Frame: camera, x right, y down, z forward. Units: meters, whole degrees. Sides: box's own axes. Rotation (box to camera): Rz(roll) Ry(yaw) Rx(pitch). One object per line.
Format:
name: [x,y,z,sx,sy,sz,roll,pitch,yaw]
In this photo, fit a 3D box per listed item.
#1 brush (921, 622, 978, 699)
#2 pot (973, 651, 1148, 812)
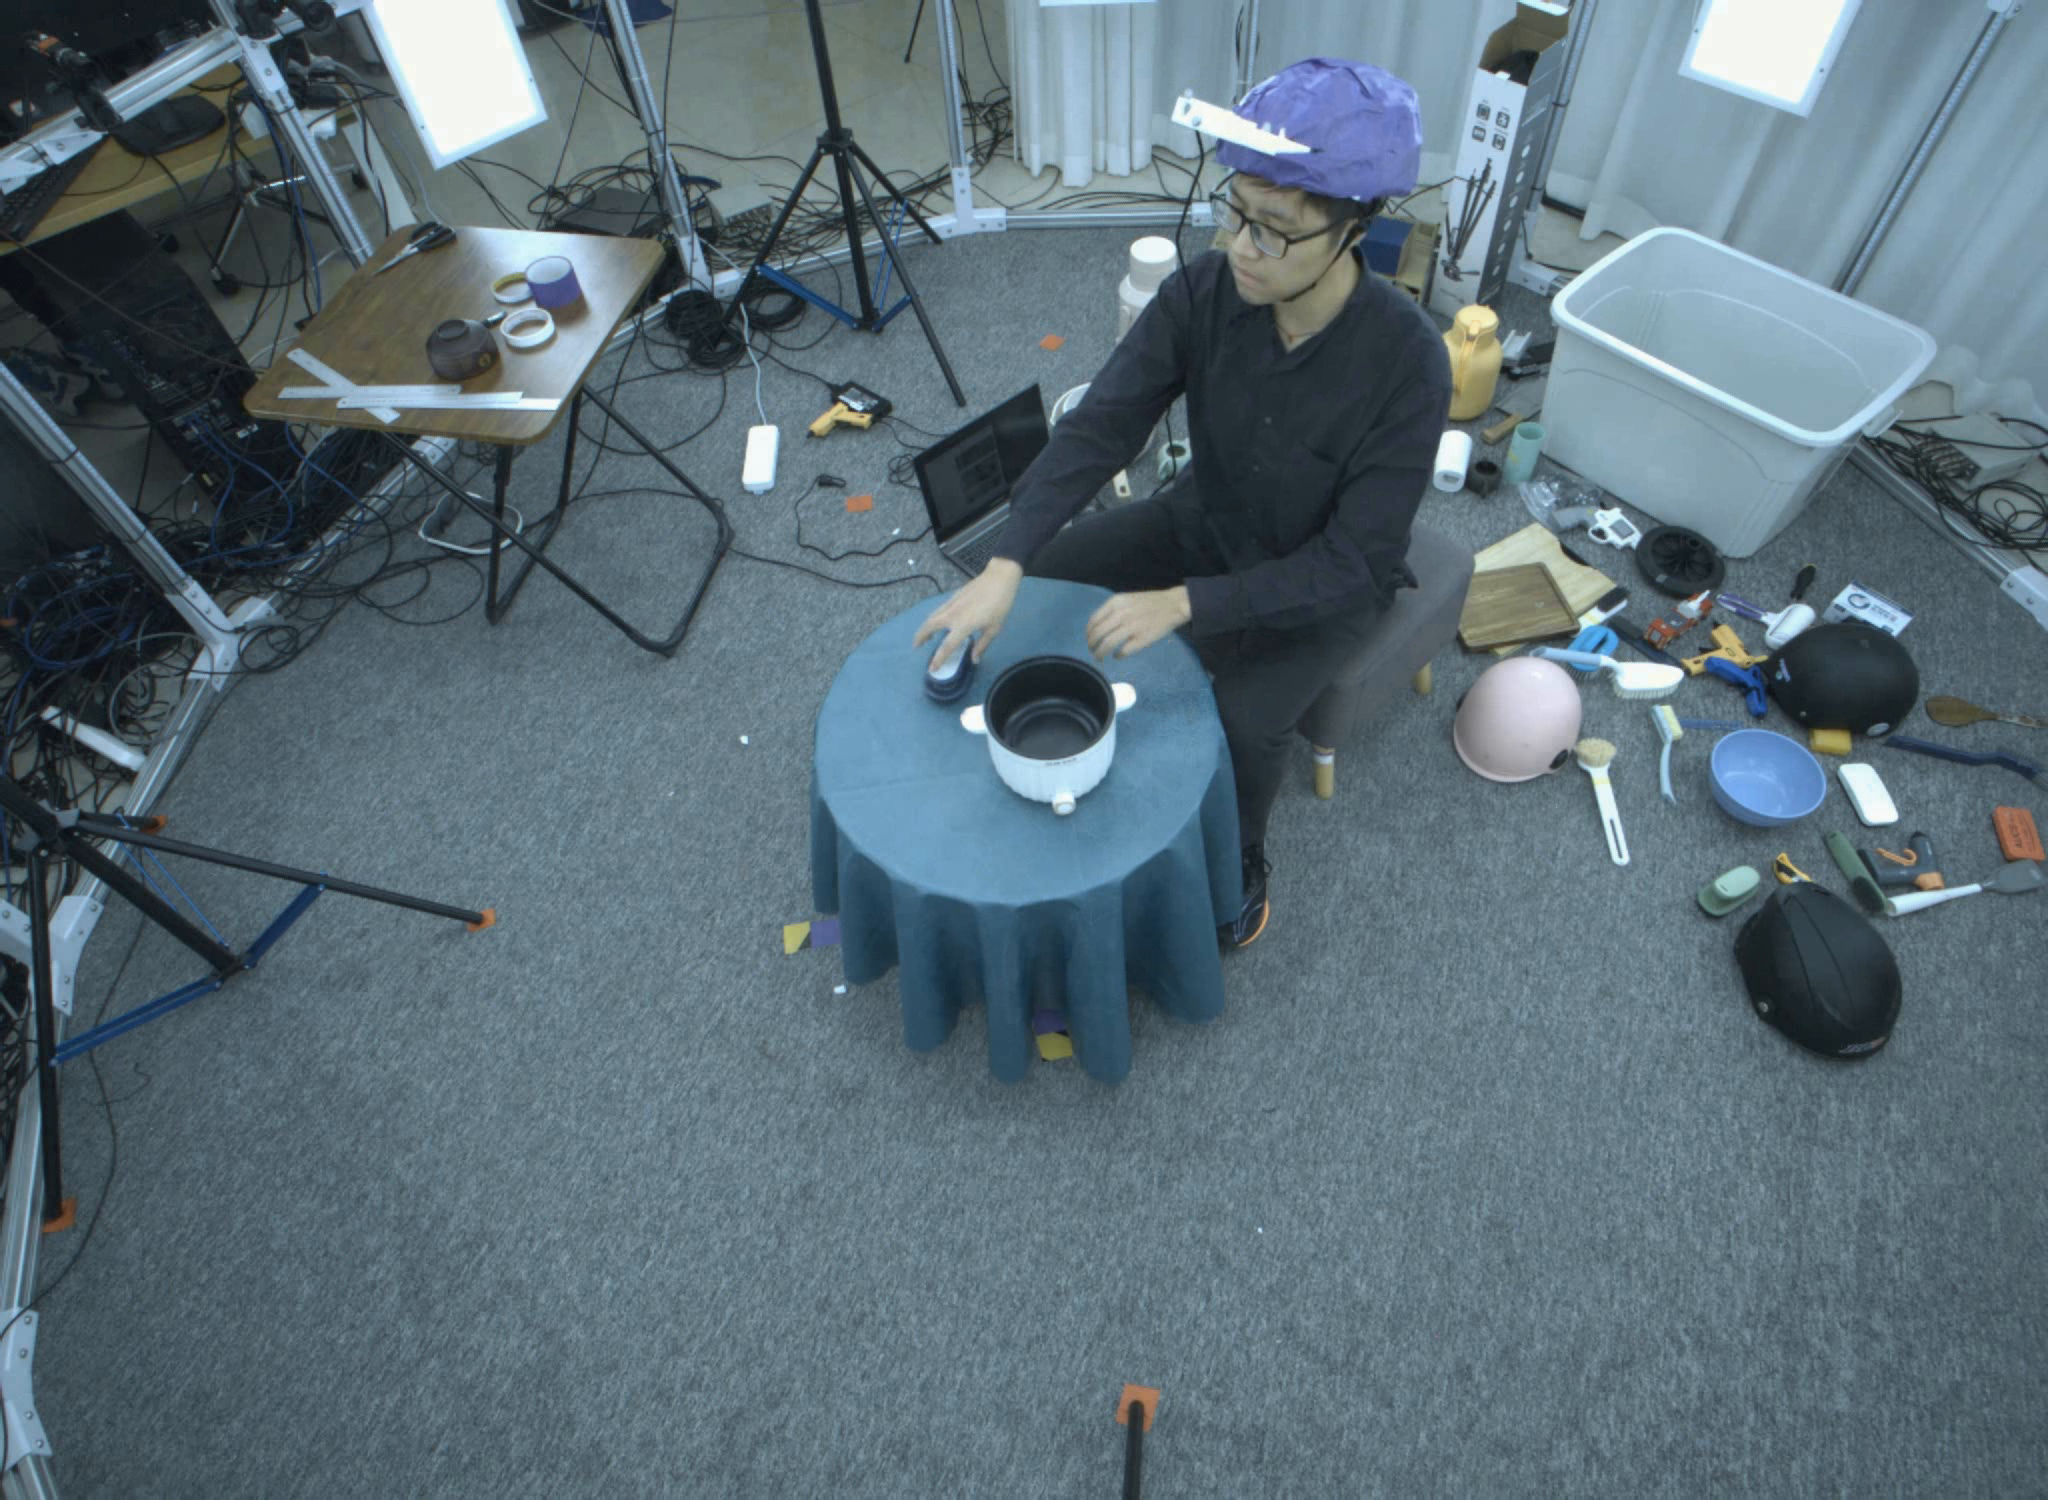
brush: [-0.113,-0.134,1.858,0.067,0.062,0.121,16,60,16]
pot: [0.056,-0.022,1.708,0.241,0.144,0.187,-11,52,-3]
